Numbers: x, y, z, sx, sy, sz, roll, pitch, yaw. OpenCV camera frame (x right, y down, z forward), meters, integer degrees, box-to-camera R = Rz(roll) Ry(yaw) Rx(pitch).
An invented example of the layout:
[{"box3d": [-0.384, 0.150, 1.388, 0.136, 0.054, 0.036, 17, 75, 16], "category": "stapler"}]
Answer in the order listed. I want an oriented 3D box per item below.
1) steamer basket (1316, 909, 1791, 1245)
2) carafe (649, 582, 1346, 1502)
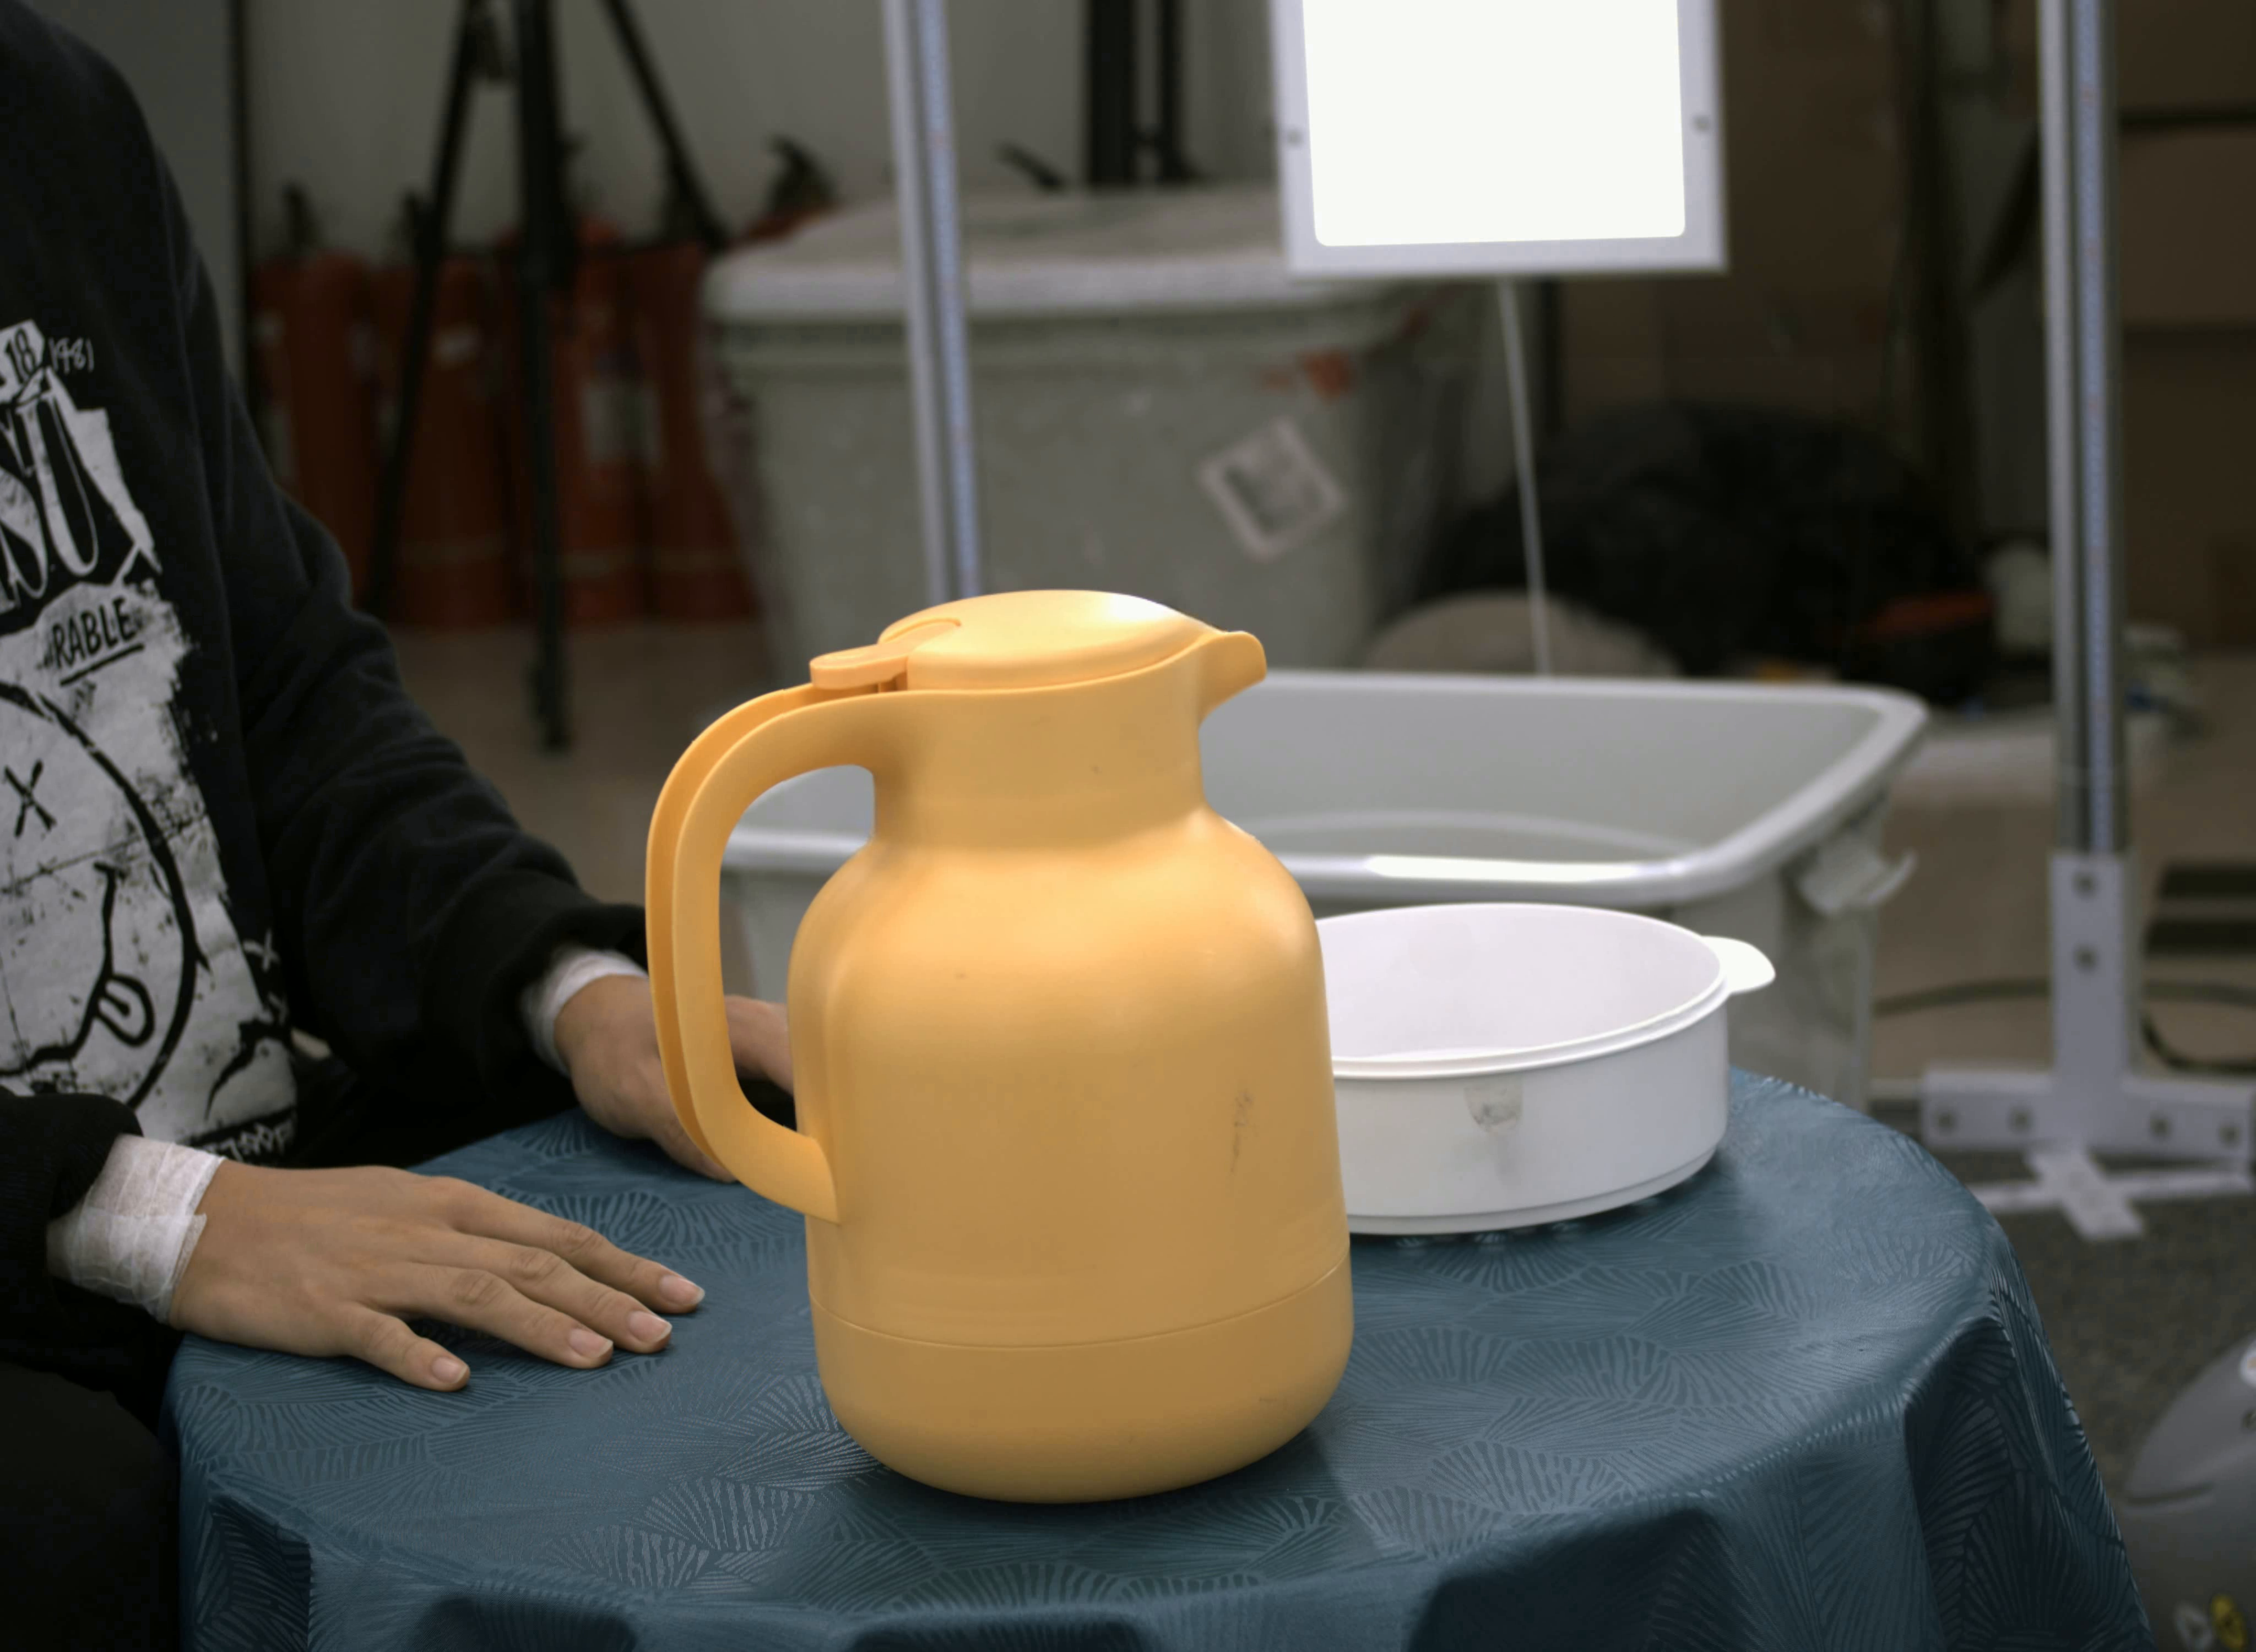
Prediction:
[{"box3d": [0.115, 0.086, 1.891, 0.229, 0.069, 0.202, -5, 14, -4], "category": "steamer basket"}, {"box3d": [-0.039, 0.062, 1.626, 0.199, 0.261, 0.165, -8, 12, -19], "category": "carafe"}]
